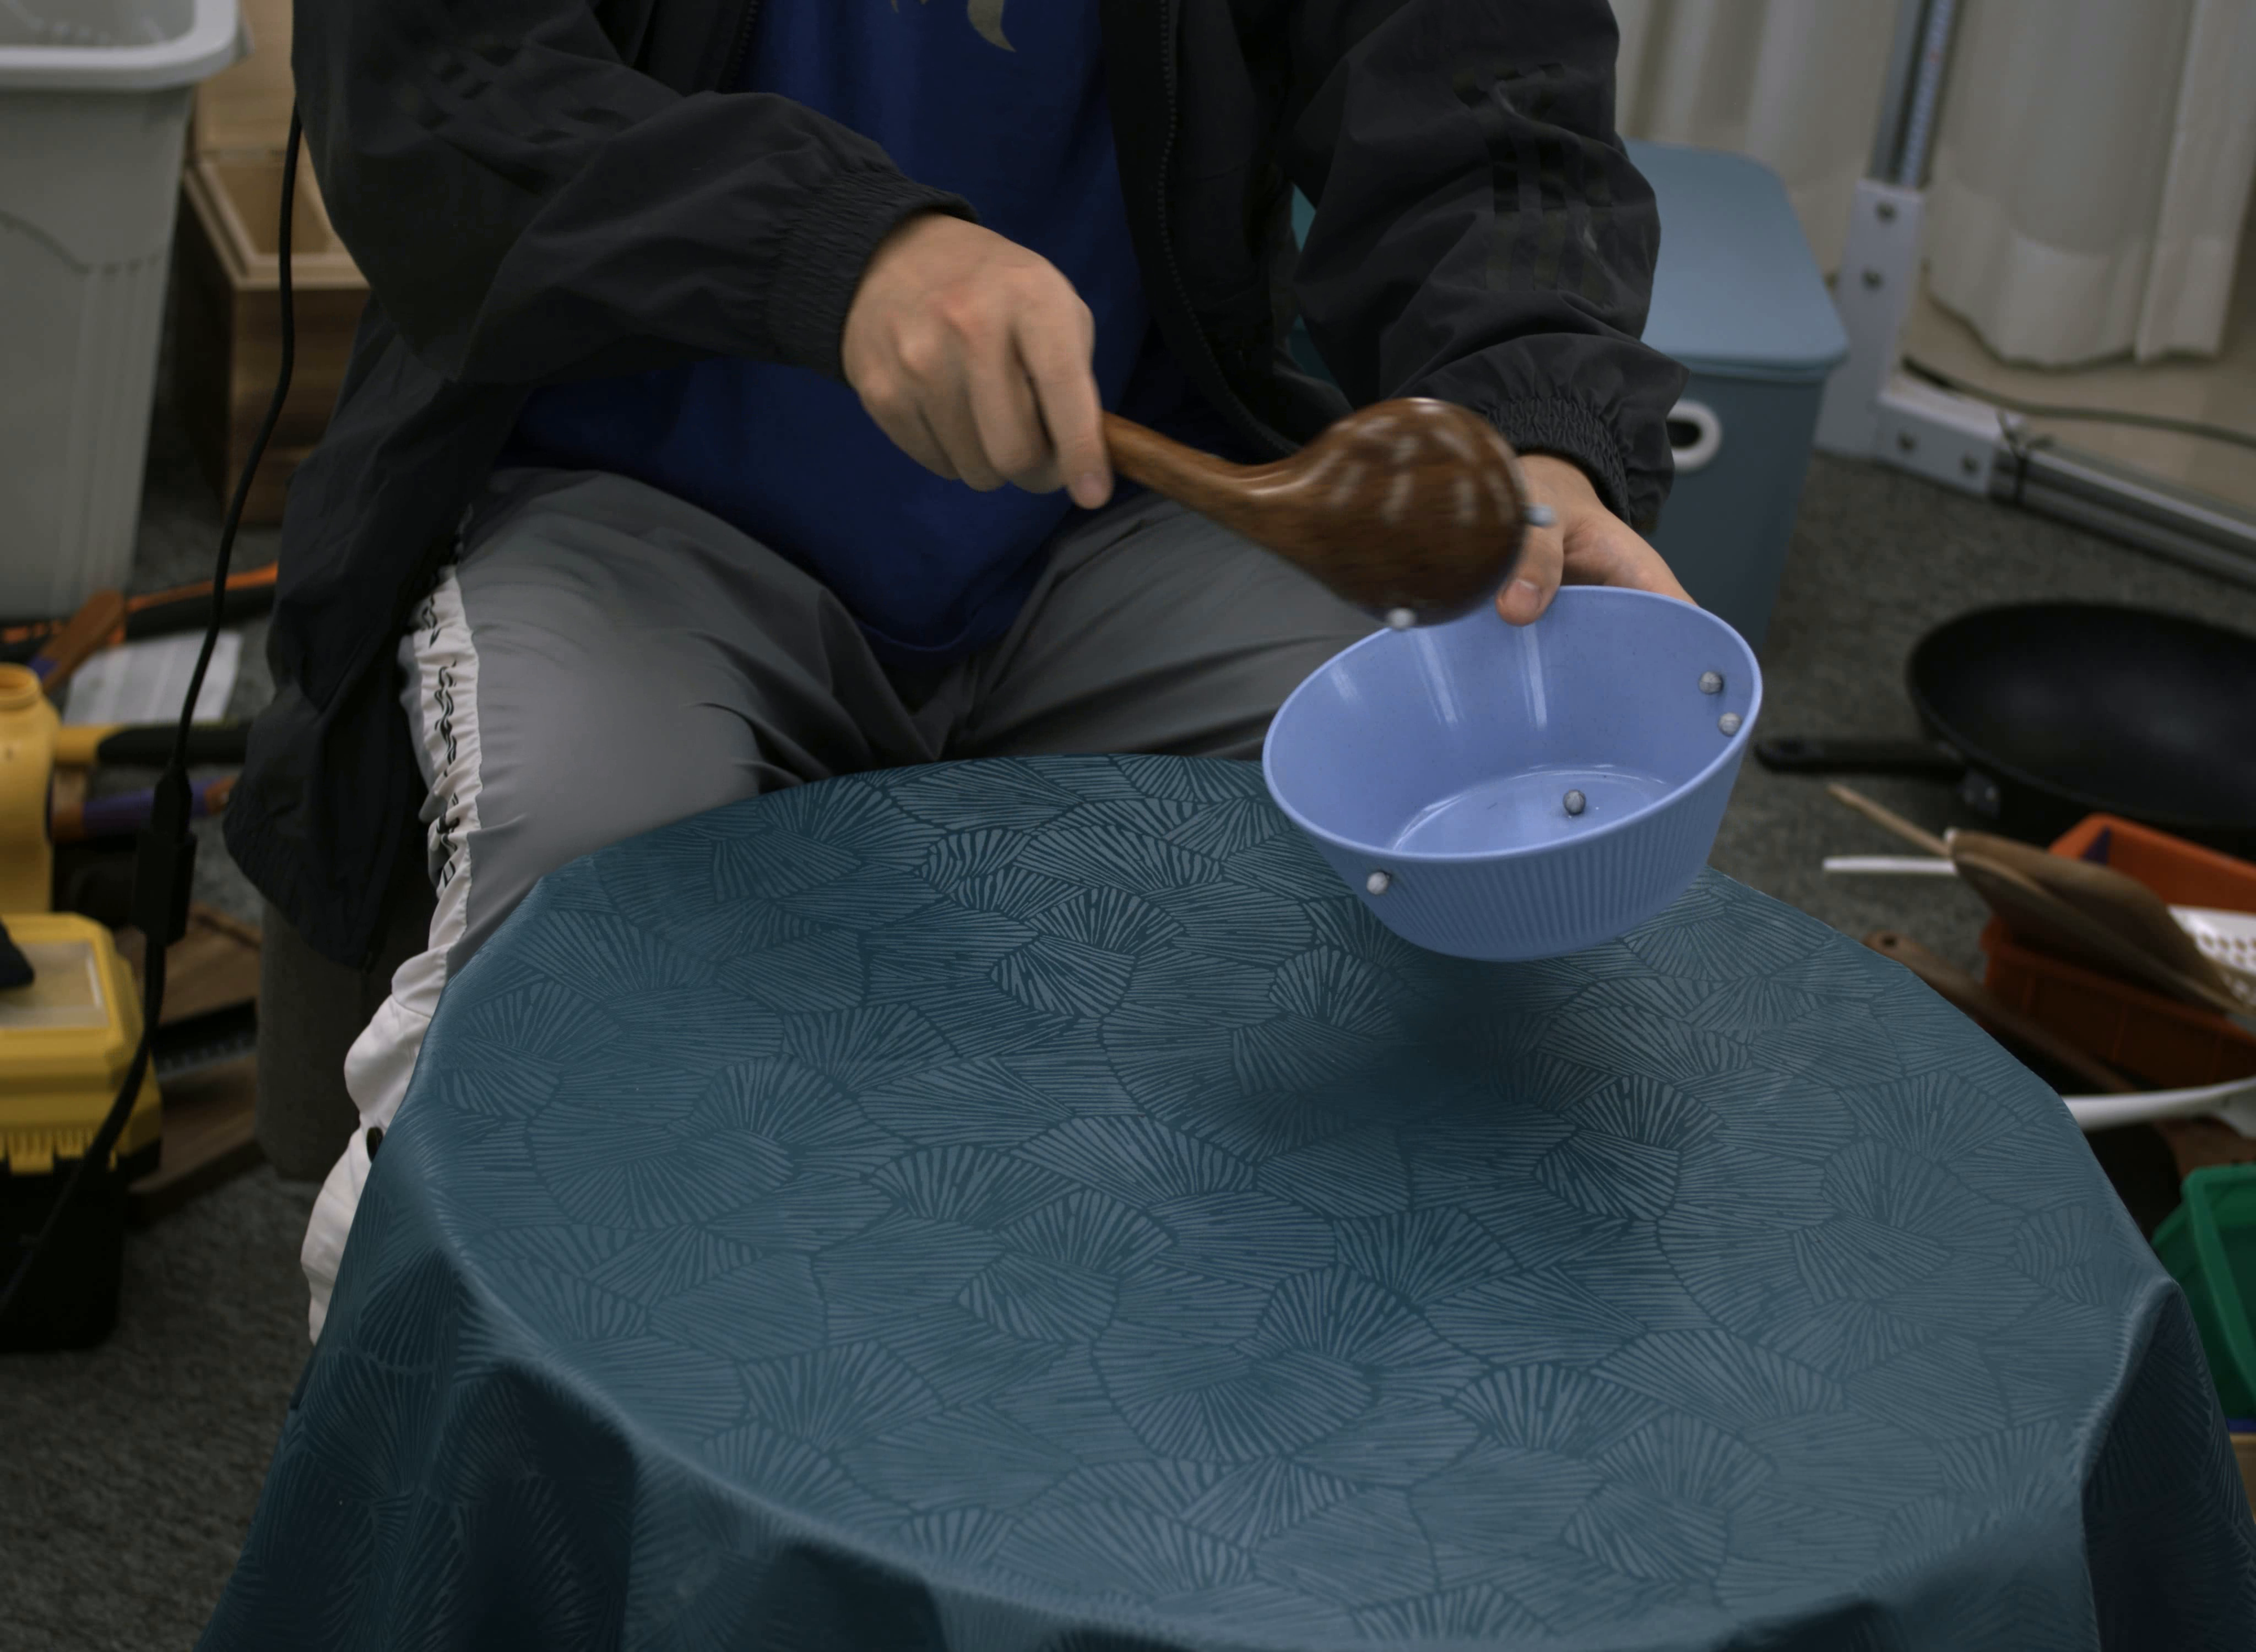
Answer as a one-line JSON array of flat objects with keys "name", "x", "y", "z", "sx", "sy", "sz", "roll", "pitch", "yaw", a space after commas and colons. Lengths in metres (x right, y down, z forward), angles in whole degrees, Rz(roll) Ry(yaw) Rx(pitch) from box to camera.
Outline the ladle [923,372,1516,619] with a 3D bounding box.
[{"name": "ladle", "x": 0.030, "y": -0.134, "z": 1.868, "sx": 0.076, "sy": 0.082, "sz": 0.276, "roll": -13, "pitch": 22, "yaw": -31}]

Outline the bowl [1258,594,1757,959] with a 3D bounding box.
[{"name": "bowl", "x": 0.137, "y": -0.011, "z": 1.863, "sx": 0.176, "sy": 0.070, "sz": 0.177, "roll": -11, "pitch": 29, "yaw": 6}]
